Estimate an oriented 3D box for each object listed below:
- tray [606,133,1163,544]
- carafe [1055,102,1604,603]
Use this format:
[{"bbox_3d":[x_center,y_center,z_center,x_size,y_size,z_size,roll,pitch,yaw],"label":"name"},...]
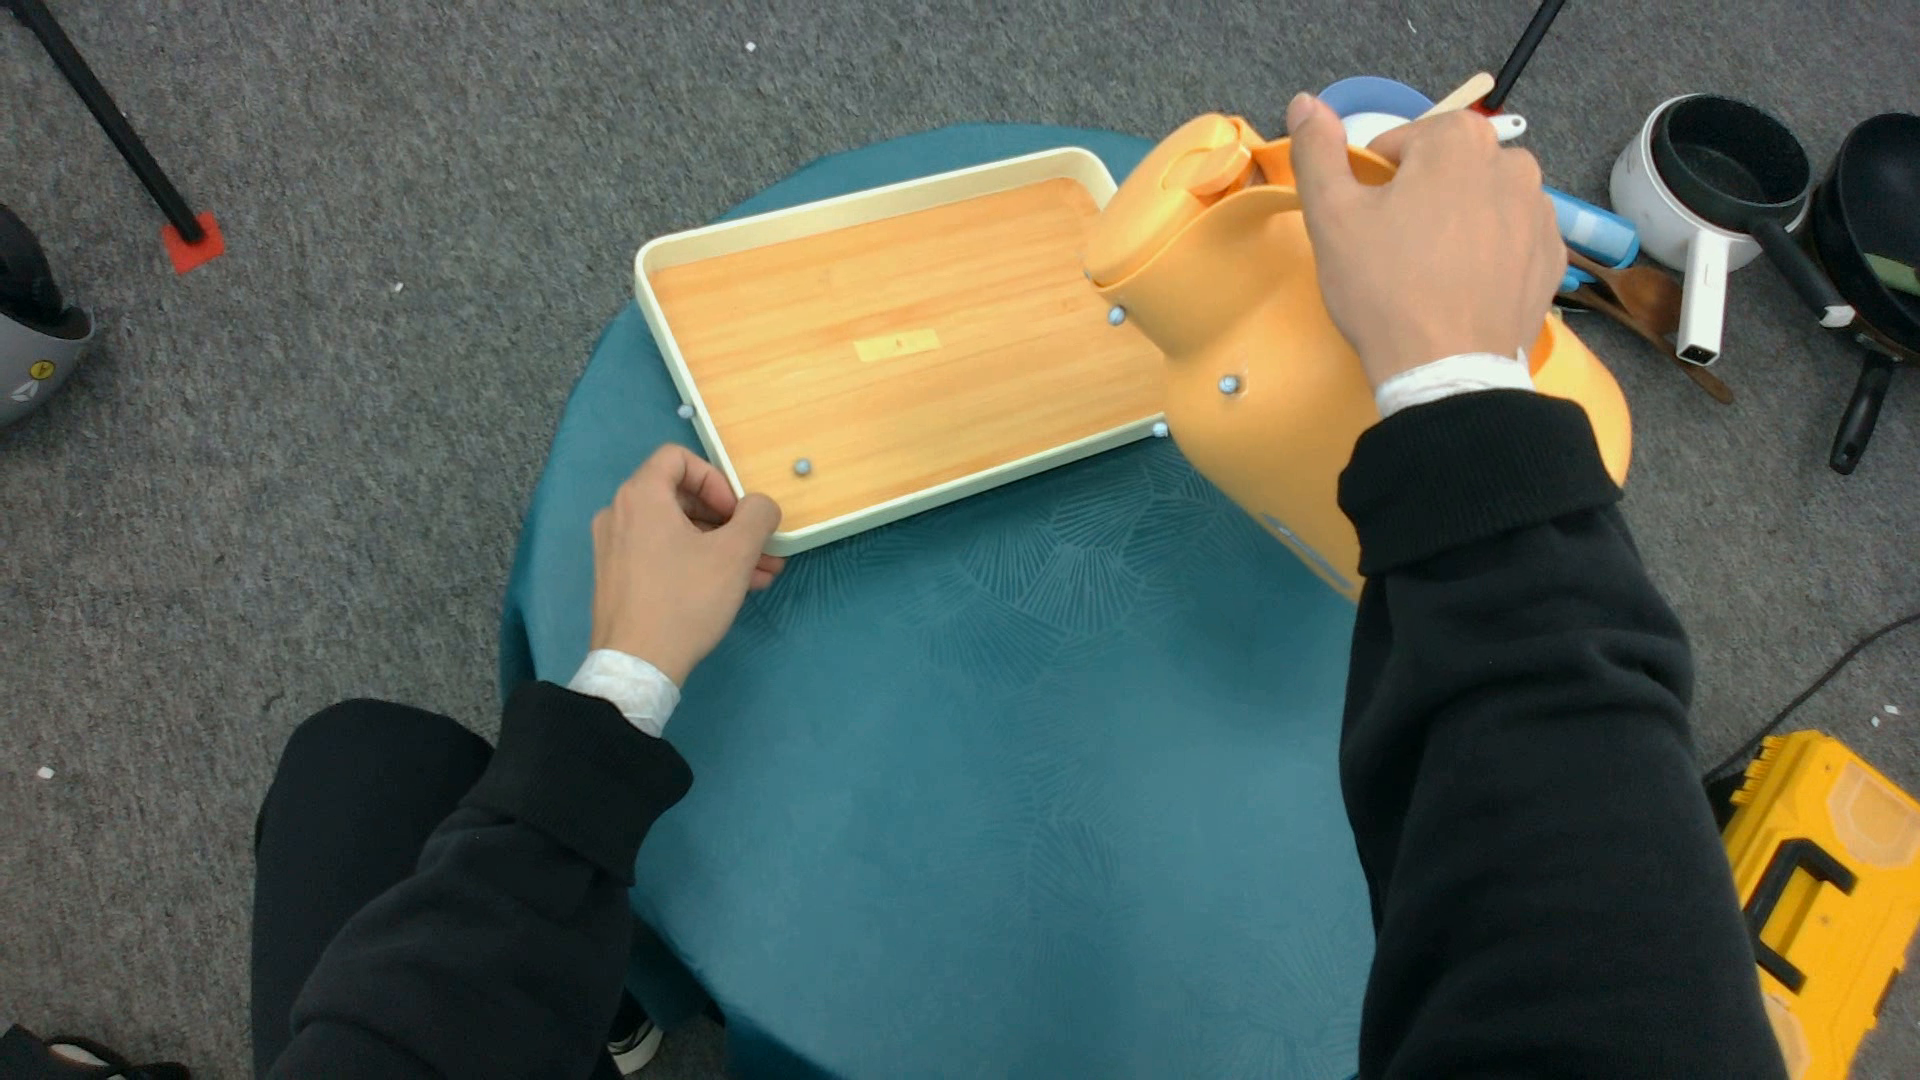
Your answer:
[{"bbox_3d":[-0.027,-0.124,0.777,0.301,0.027,0.192,-20,72,-24],"label":"tray"},{"bbox_3d":[0.173,-0.092,0.637,0.260,0.202,0.164,34,80,-18],"label":"carafe"}]
